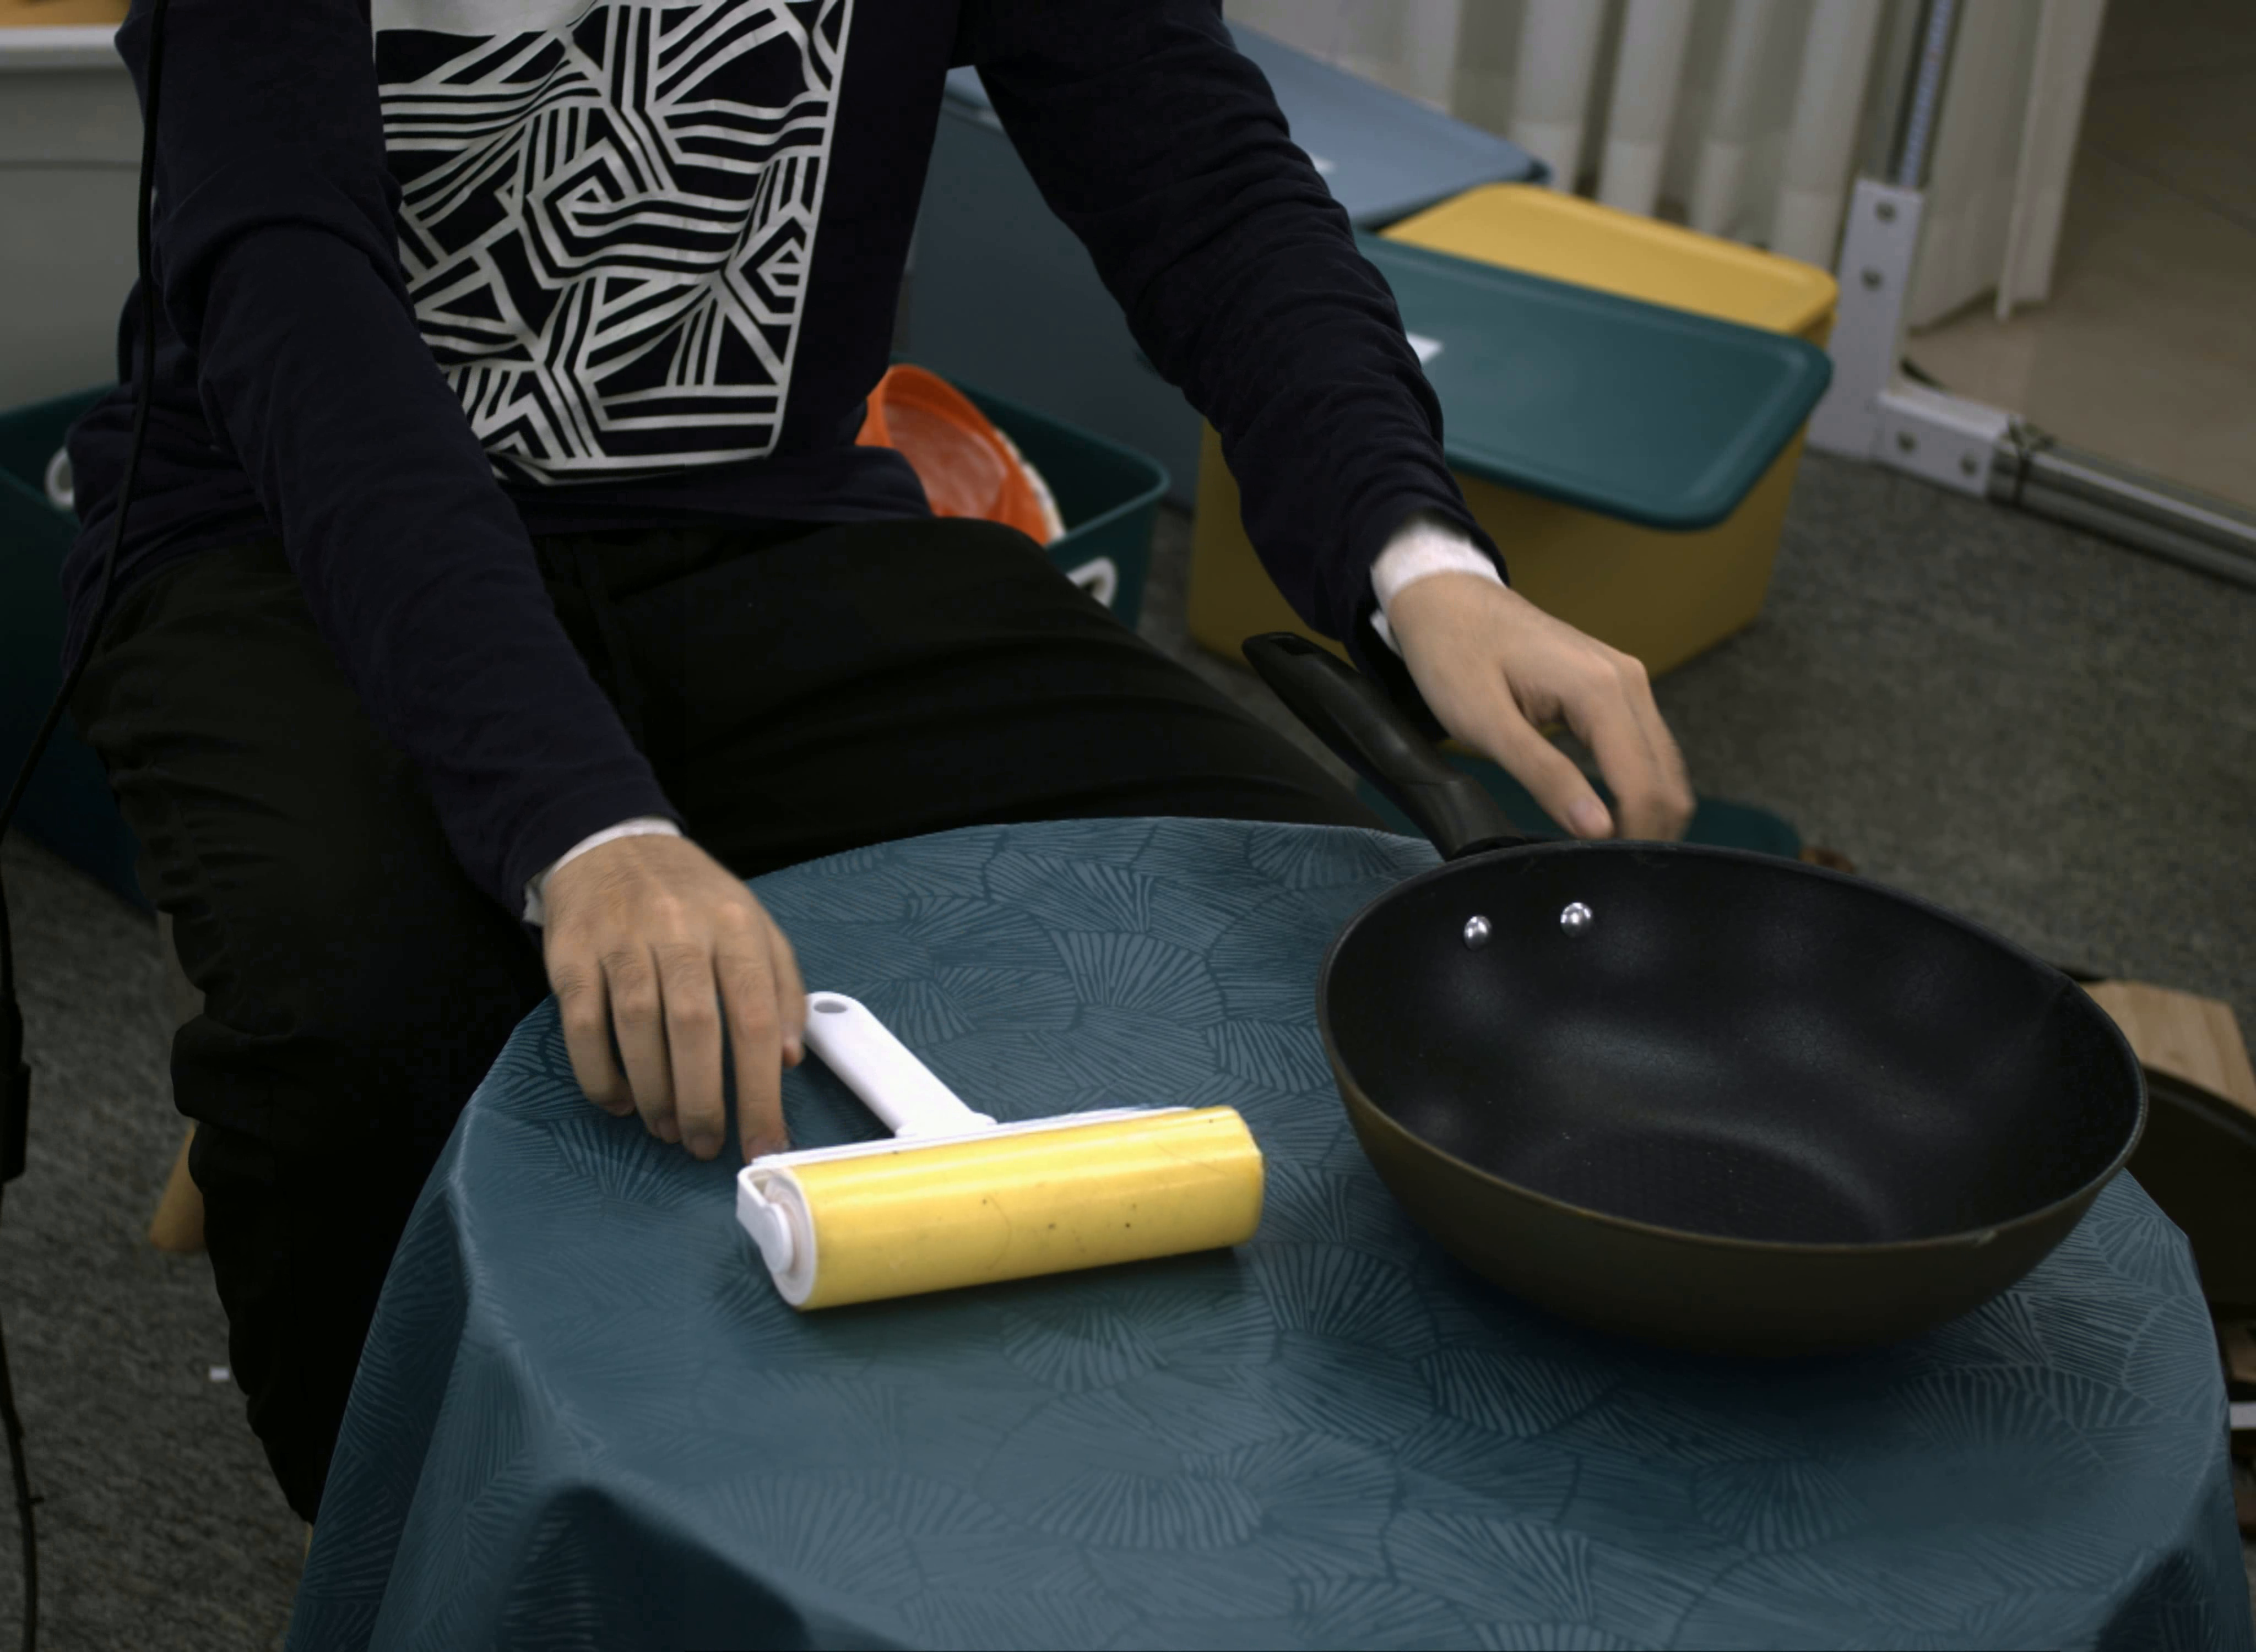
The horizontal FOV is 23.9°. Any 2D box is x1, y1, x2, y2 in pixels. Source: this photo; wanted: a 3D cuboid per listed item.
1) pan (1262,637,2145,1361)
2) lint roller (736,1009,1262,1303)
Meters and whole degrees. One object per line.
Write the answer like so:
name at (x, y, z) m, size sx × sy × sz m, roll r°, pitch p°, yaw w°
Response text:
pan at (0.154, 0.063, 1.869) m, size 0.286 × 0.086 × 0.467 m, roll -7°, pitch 29°, yaw -27°
lint roller at (-0.070, 0.093, 1.798) m, size 0.173 × 0.051 × 0.194 m, roll -6°, pitch 29°, yaw -26°
